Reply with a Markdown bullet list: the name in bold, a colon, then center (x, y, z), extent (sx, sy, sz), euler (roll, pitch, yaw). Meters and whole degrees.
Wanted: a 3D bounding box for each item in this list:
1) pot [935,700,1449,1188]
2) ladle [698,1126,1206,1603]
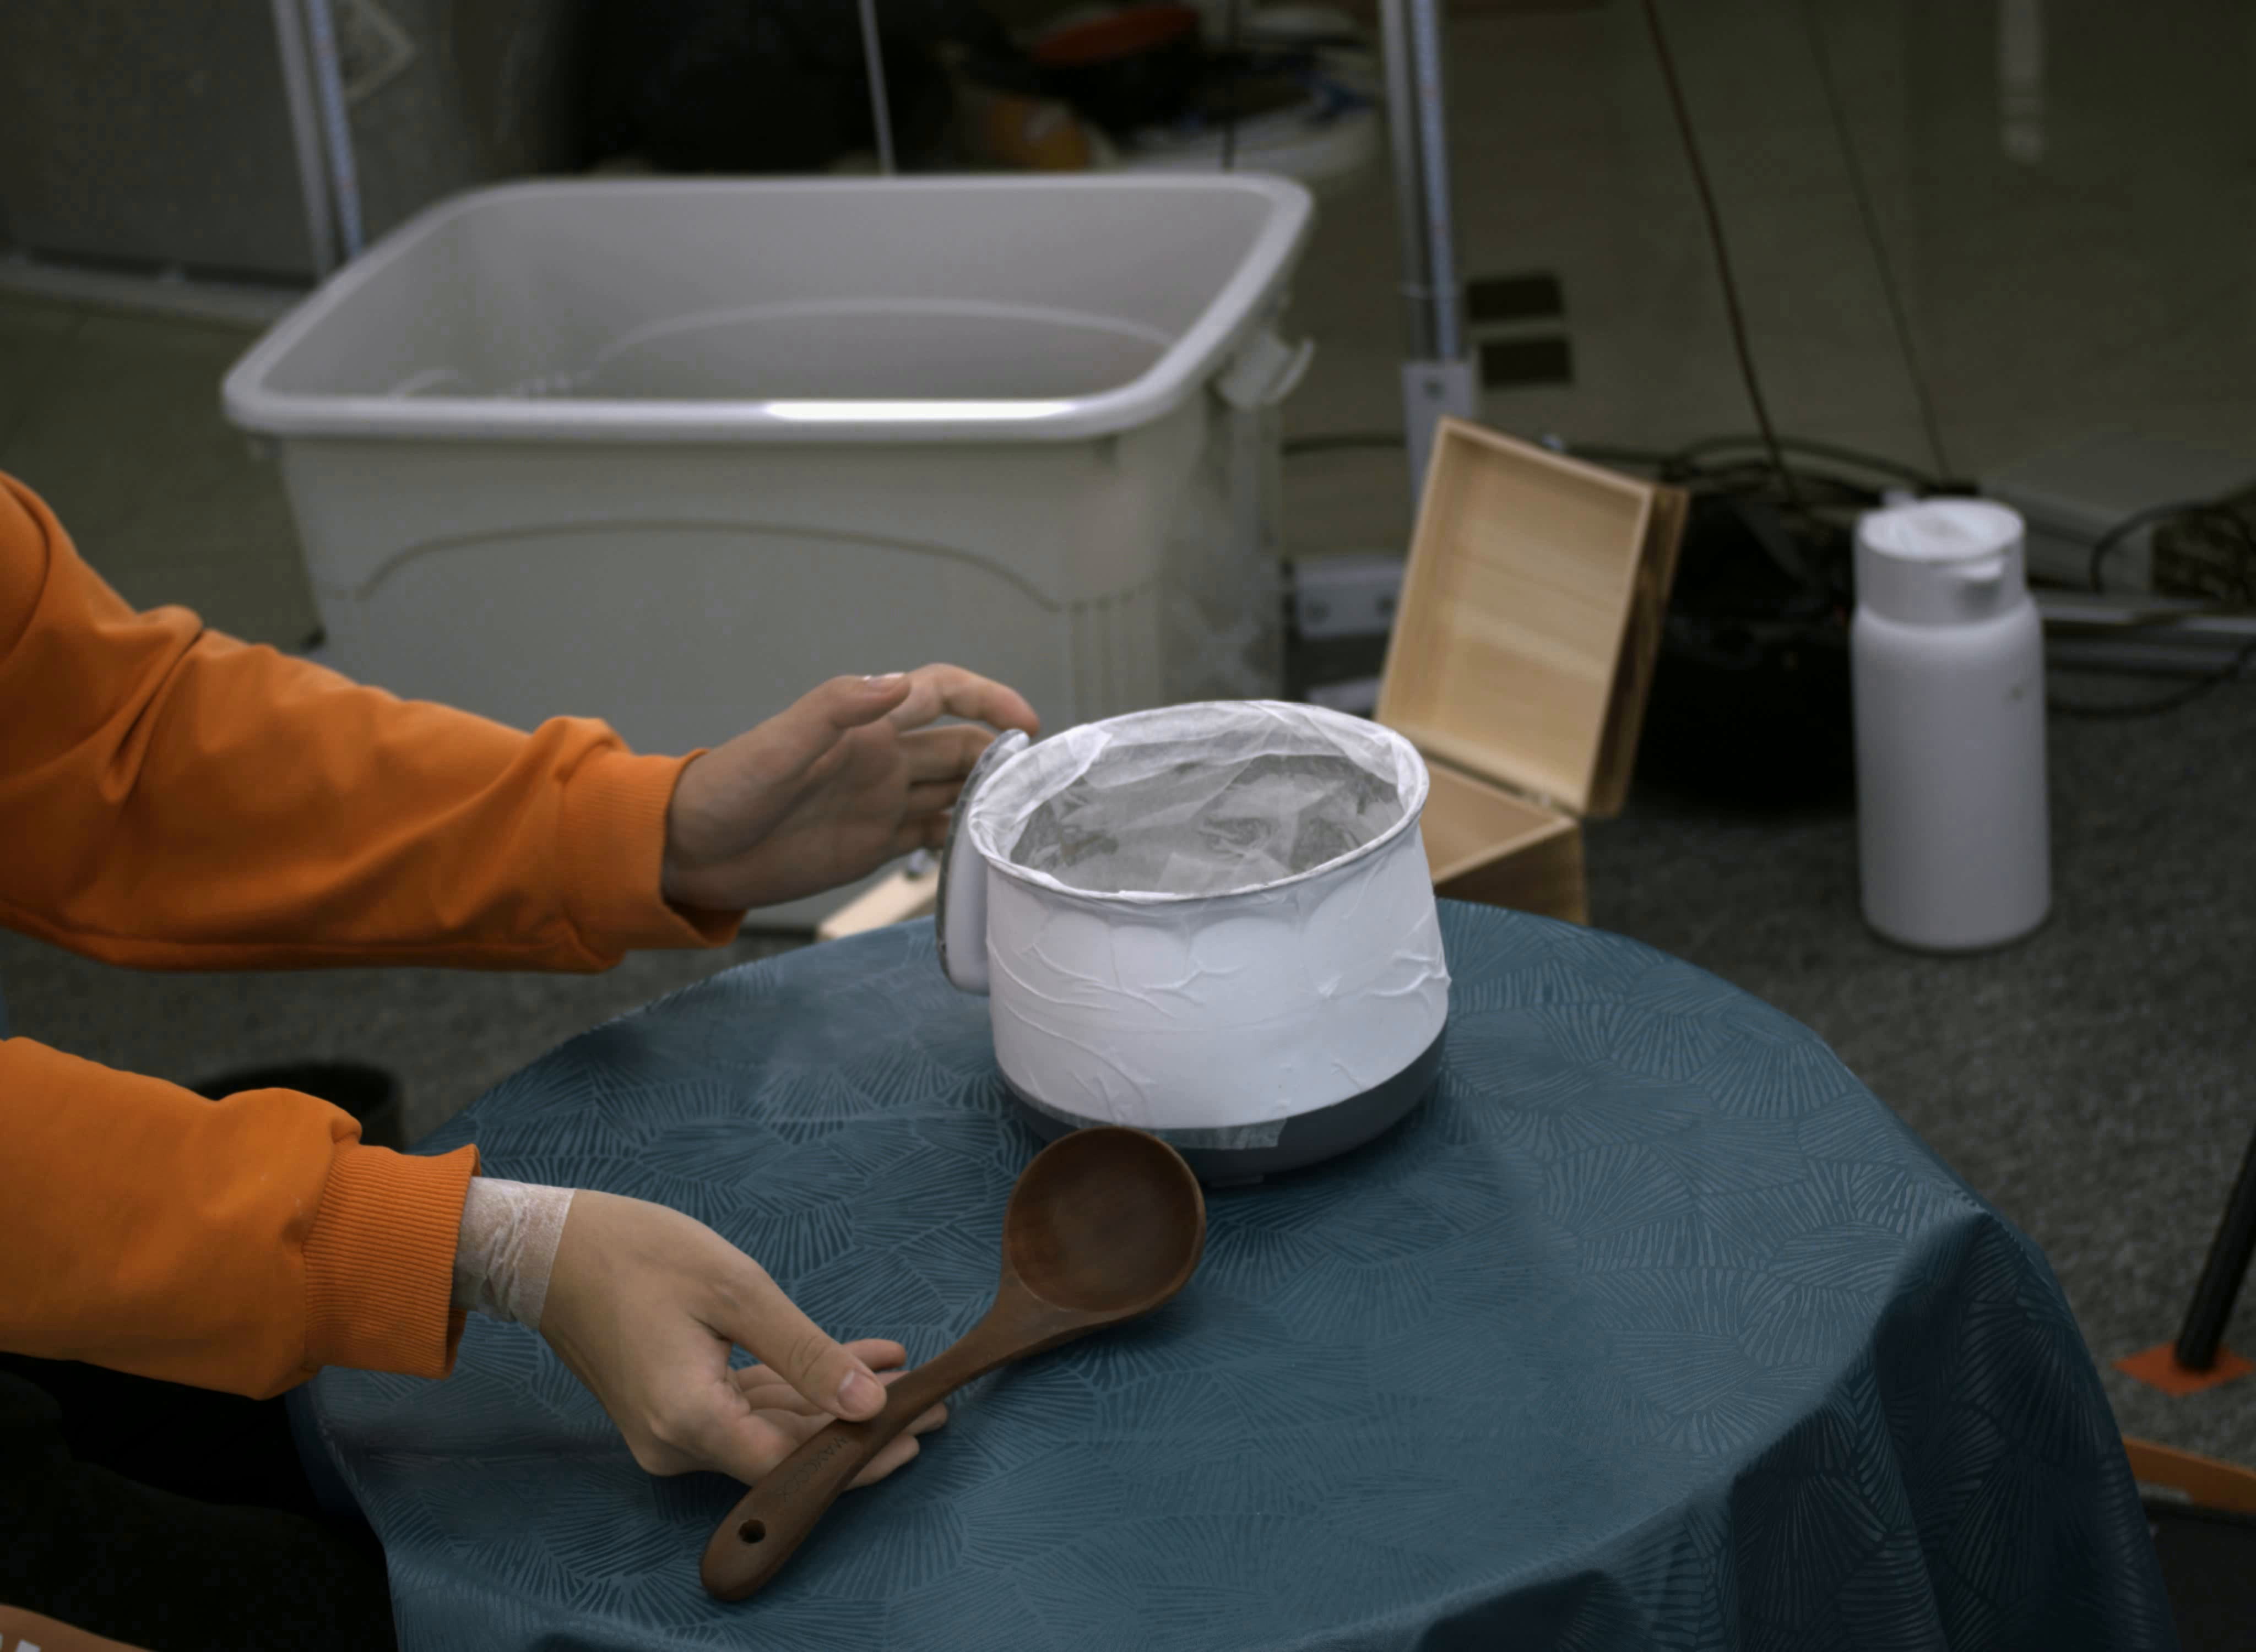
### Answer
- **pot**: center (0.012, 0.040, 2.192), extent (0.232, 0.139, 0.177), euler (17, 33, 39)
- **ladle**: center (-0.064, 0.185, 1.989), extent (0.076, 0.066, 0.257), euler (25, 37, 27)
